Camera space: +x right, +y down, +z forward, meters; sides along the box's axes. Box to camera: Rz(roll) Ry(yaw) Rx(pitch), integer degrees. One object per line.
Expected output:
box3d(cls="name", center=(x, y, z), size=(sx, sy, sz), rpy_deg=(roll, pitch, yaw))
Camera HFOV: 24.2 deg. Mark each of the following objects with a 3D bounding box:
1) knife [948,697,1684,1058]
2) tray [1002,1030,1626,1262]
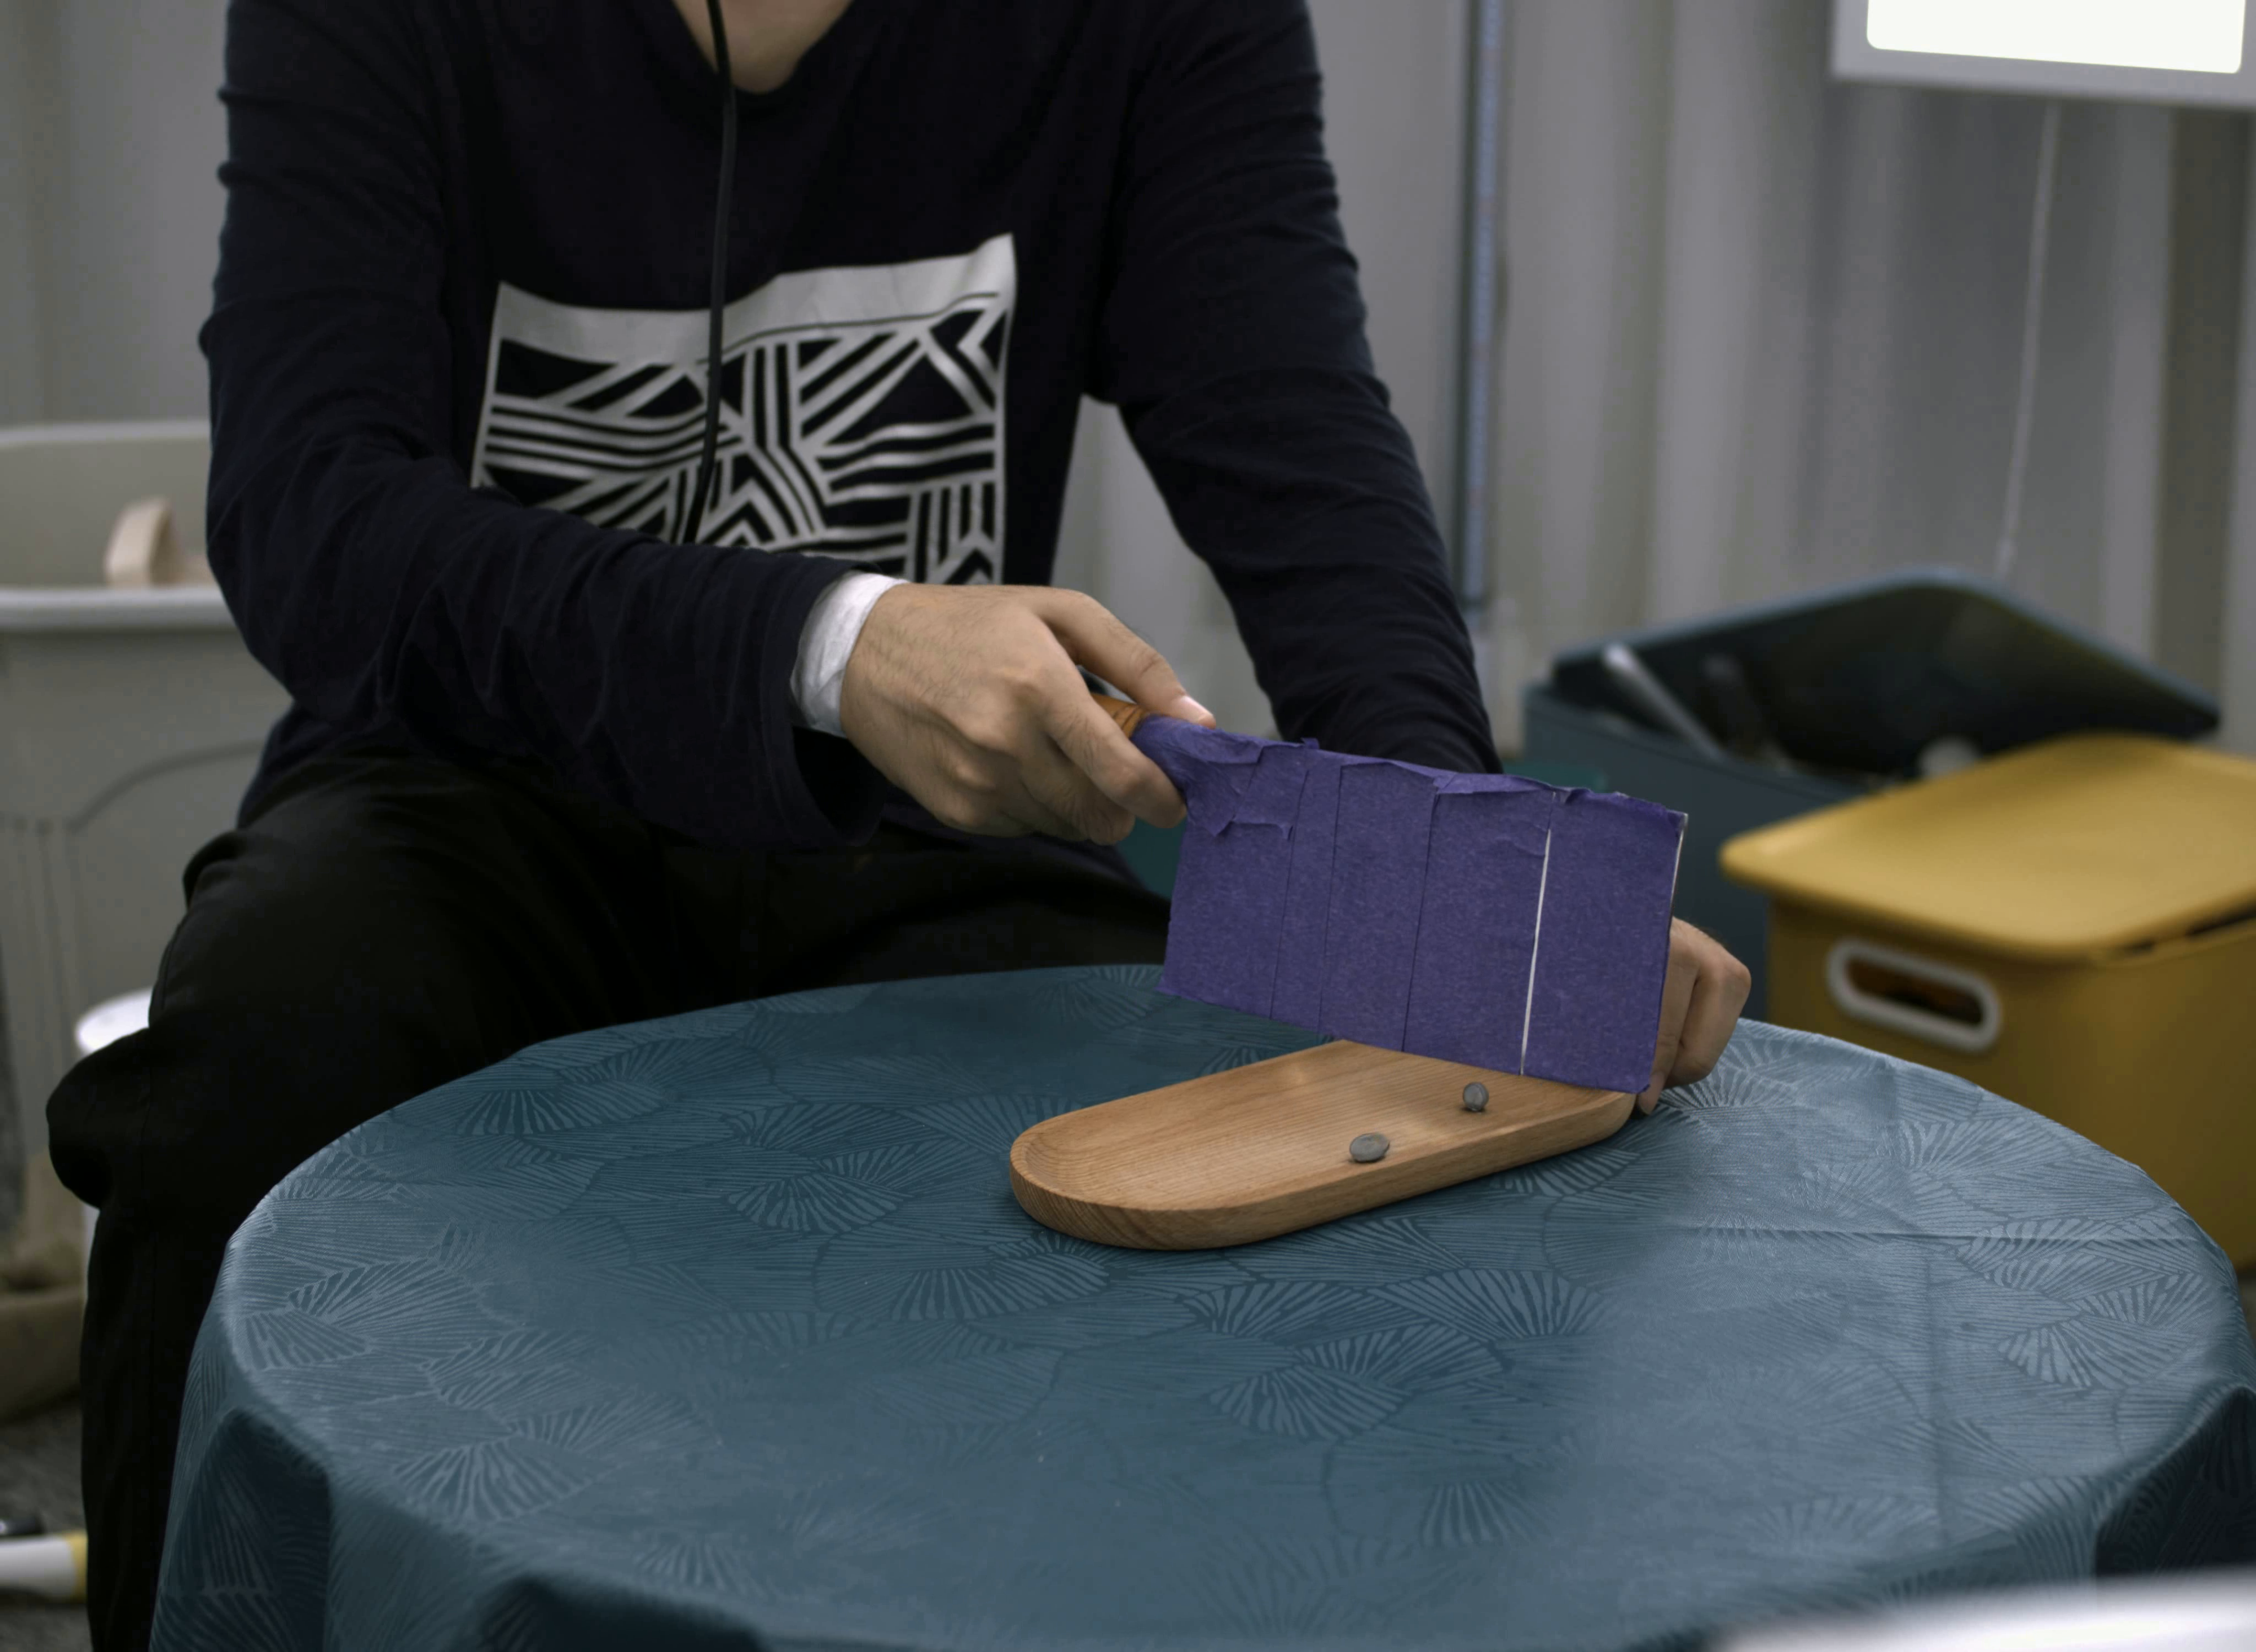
box3d(cls="knife", center=(0.051, 0.016, 1.700), size=(0.032, 0.104, 0.311), rpy_deg=(7, 2, -45))
box3d(cls="tray", center=(0.061, 0.098, 1.653), size=(0.232, 0.020, 0.100), rpy_deg=(-16, 21, -39))
